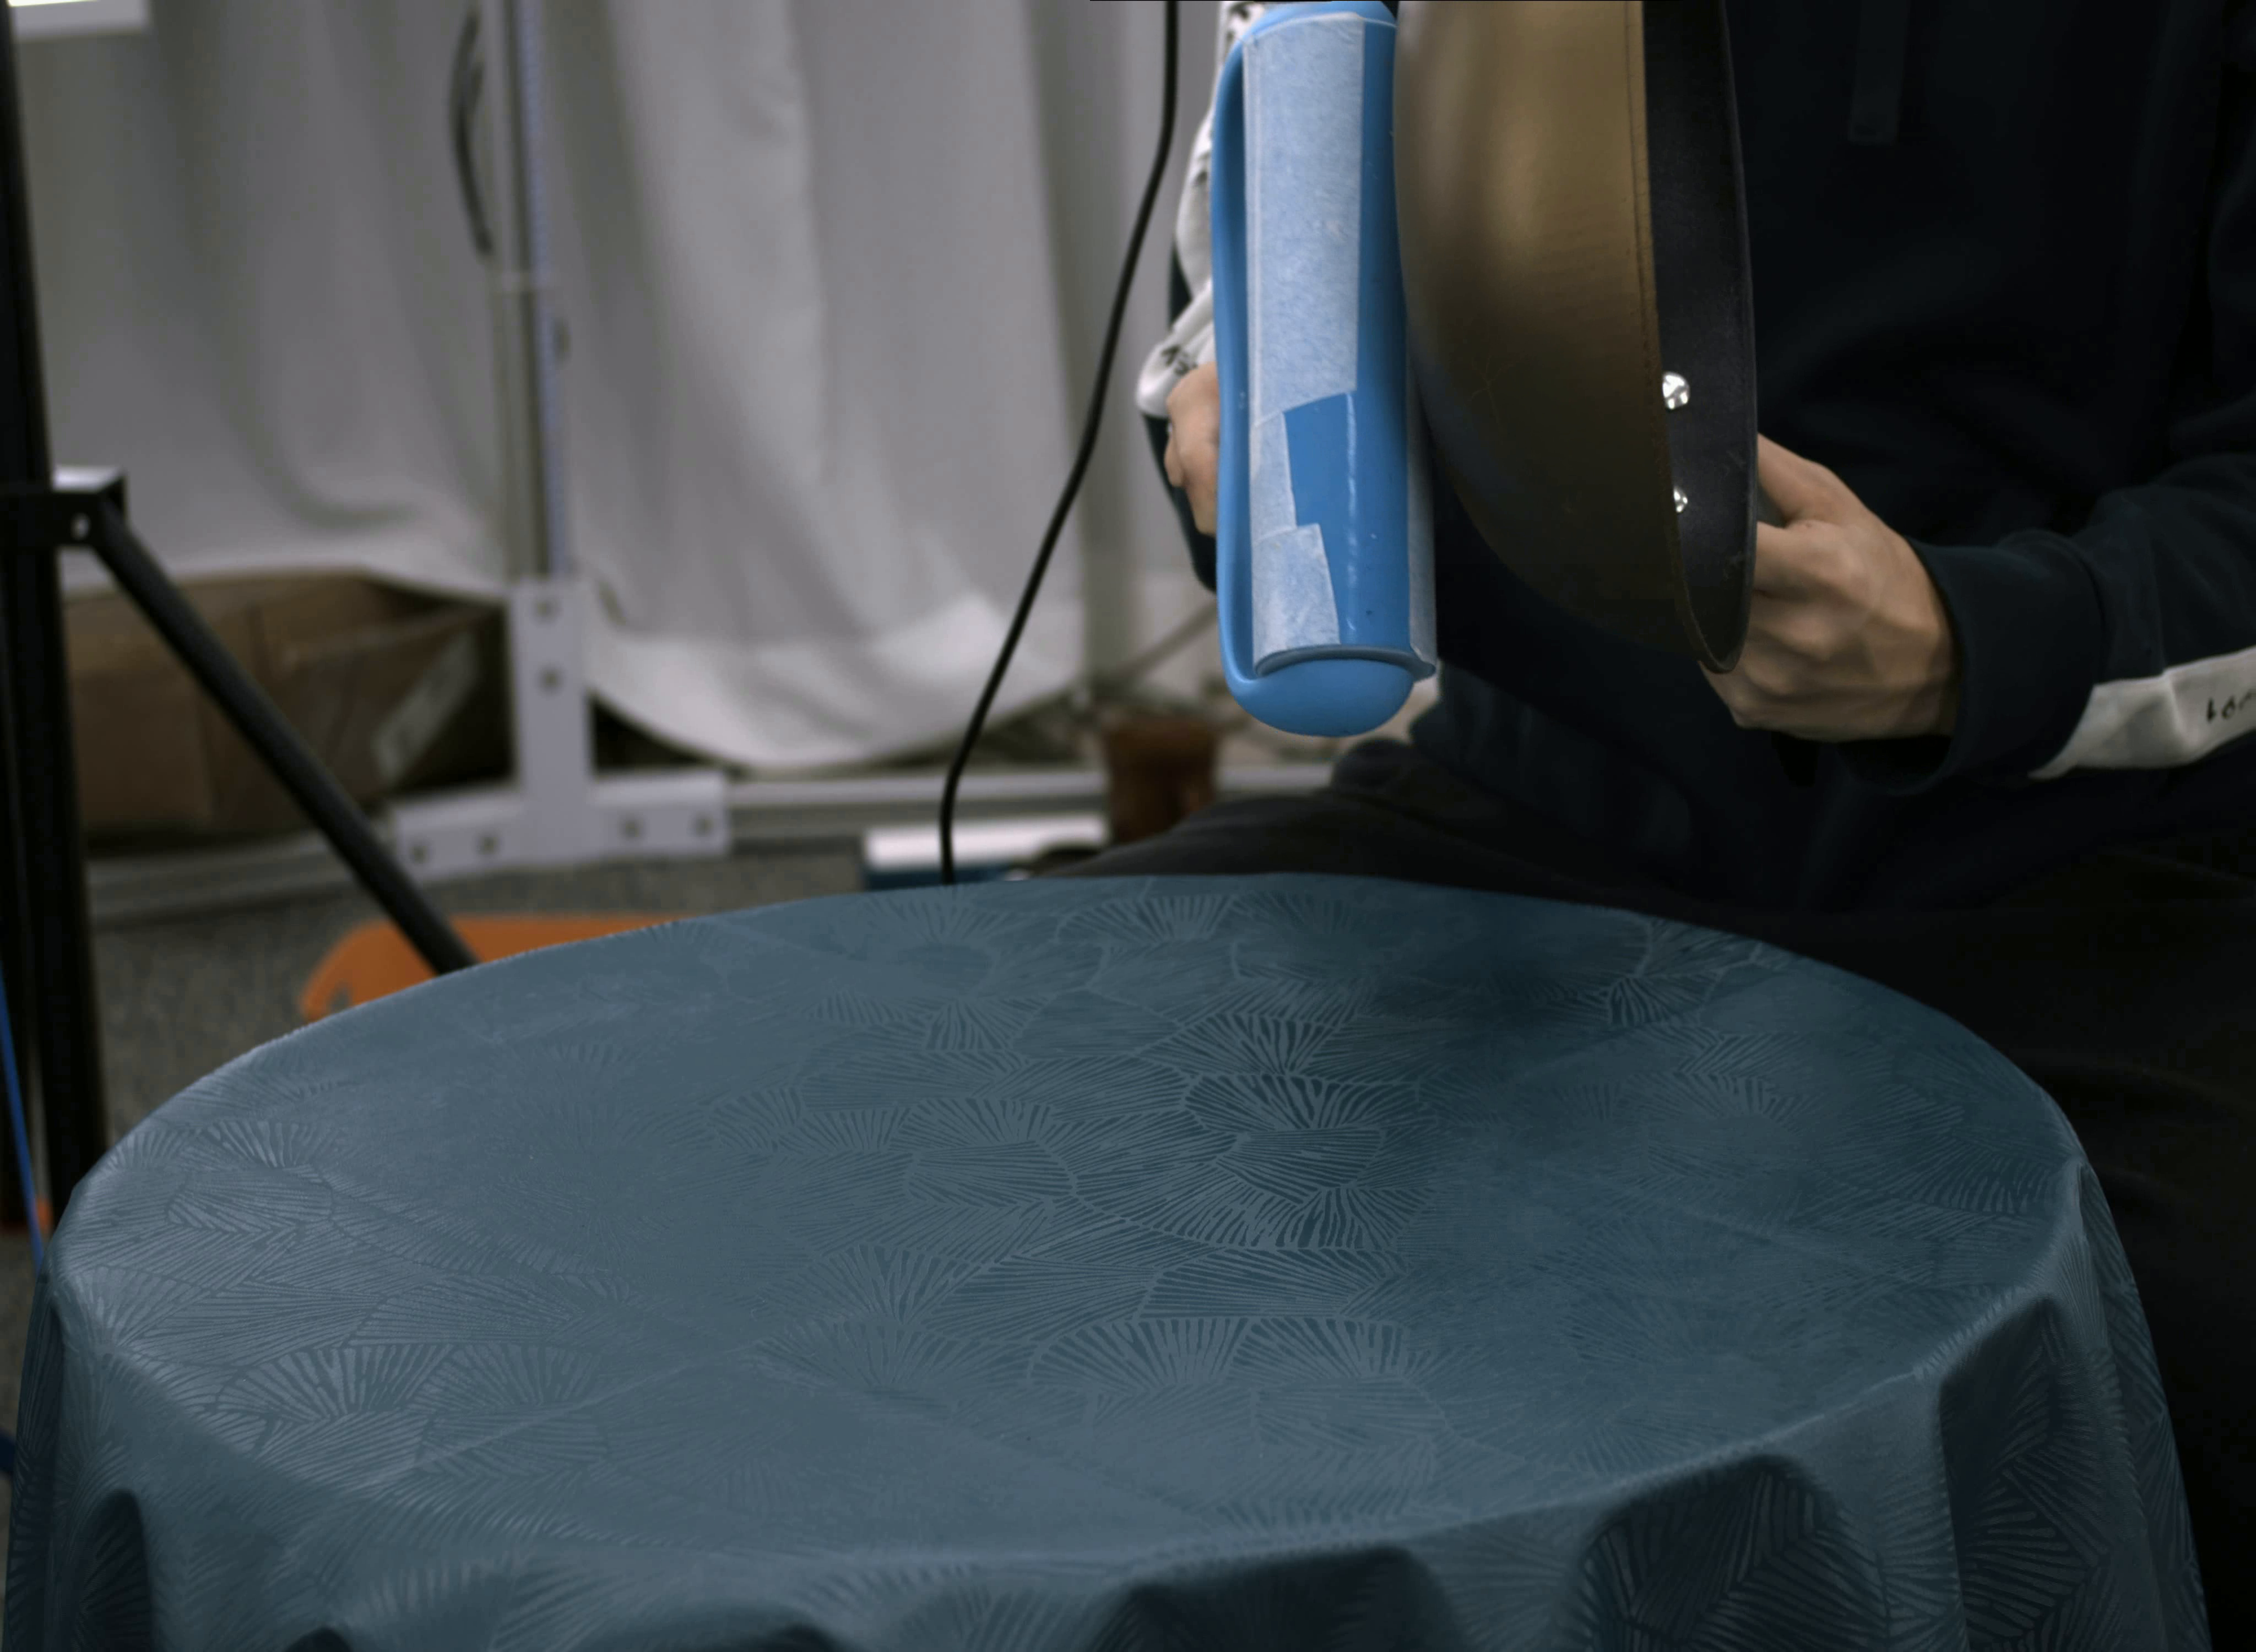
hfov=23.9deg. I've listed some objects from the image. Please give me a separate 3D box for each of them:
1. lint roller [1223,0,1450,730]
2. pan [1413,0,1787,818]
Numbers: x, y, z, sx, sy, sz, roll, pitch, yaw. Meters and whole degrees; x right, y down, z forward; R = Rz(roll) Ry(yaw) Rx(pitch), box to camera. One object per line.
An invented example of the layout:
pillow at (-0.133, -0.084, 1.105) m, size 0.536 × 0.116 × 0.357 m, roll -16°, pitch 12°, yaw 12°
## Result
lint roller at (0.061, -0.122, 1.616) m, size 0.067 × 0.231 × 0.179 m, roll -1°, pitch -17°, yaw -2°
pan at (0.148, -0.139, 1.635) m, size 0.087 × 0.457 × 0.291 m, roll -3°, pitch 57°, yaw 10°
